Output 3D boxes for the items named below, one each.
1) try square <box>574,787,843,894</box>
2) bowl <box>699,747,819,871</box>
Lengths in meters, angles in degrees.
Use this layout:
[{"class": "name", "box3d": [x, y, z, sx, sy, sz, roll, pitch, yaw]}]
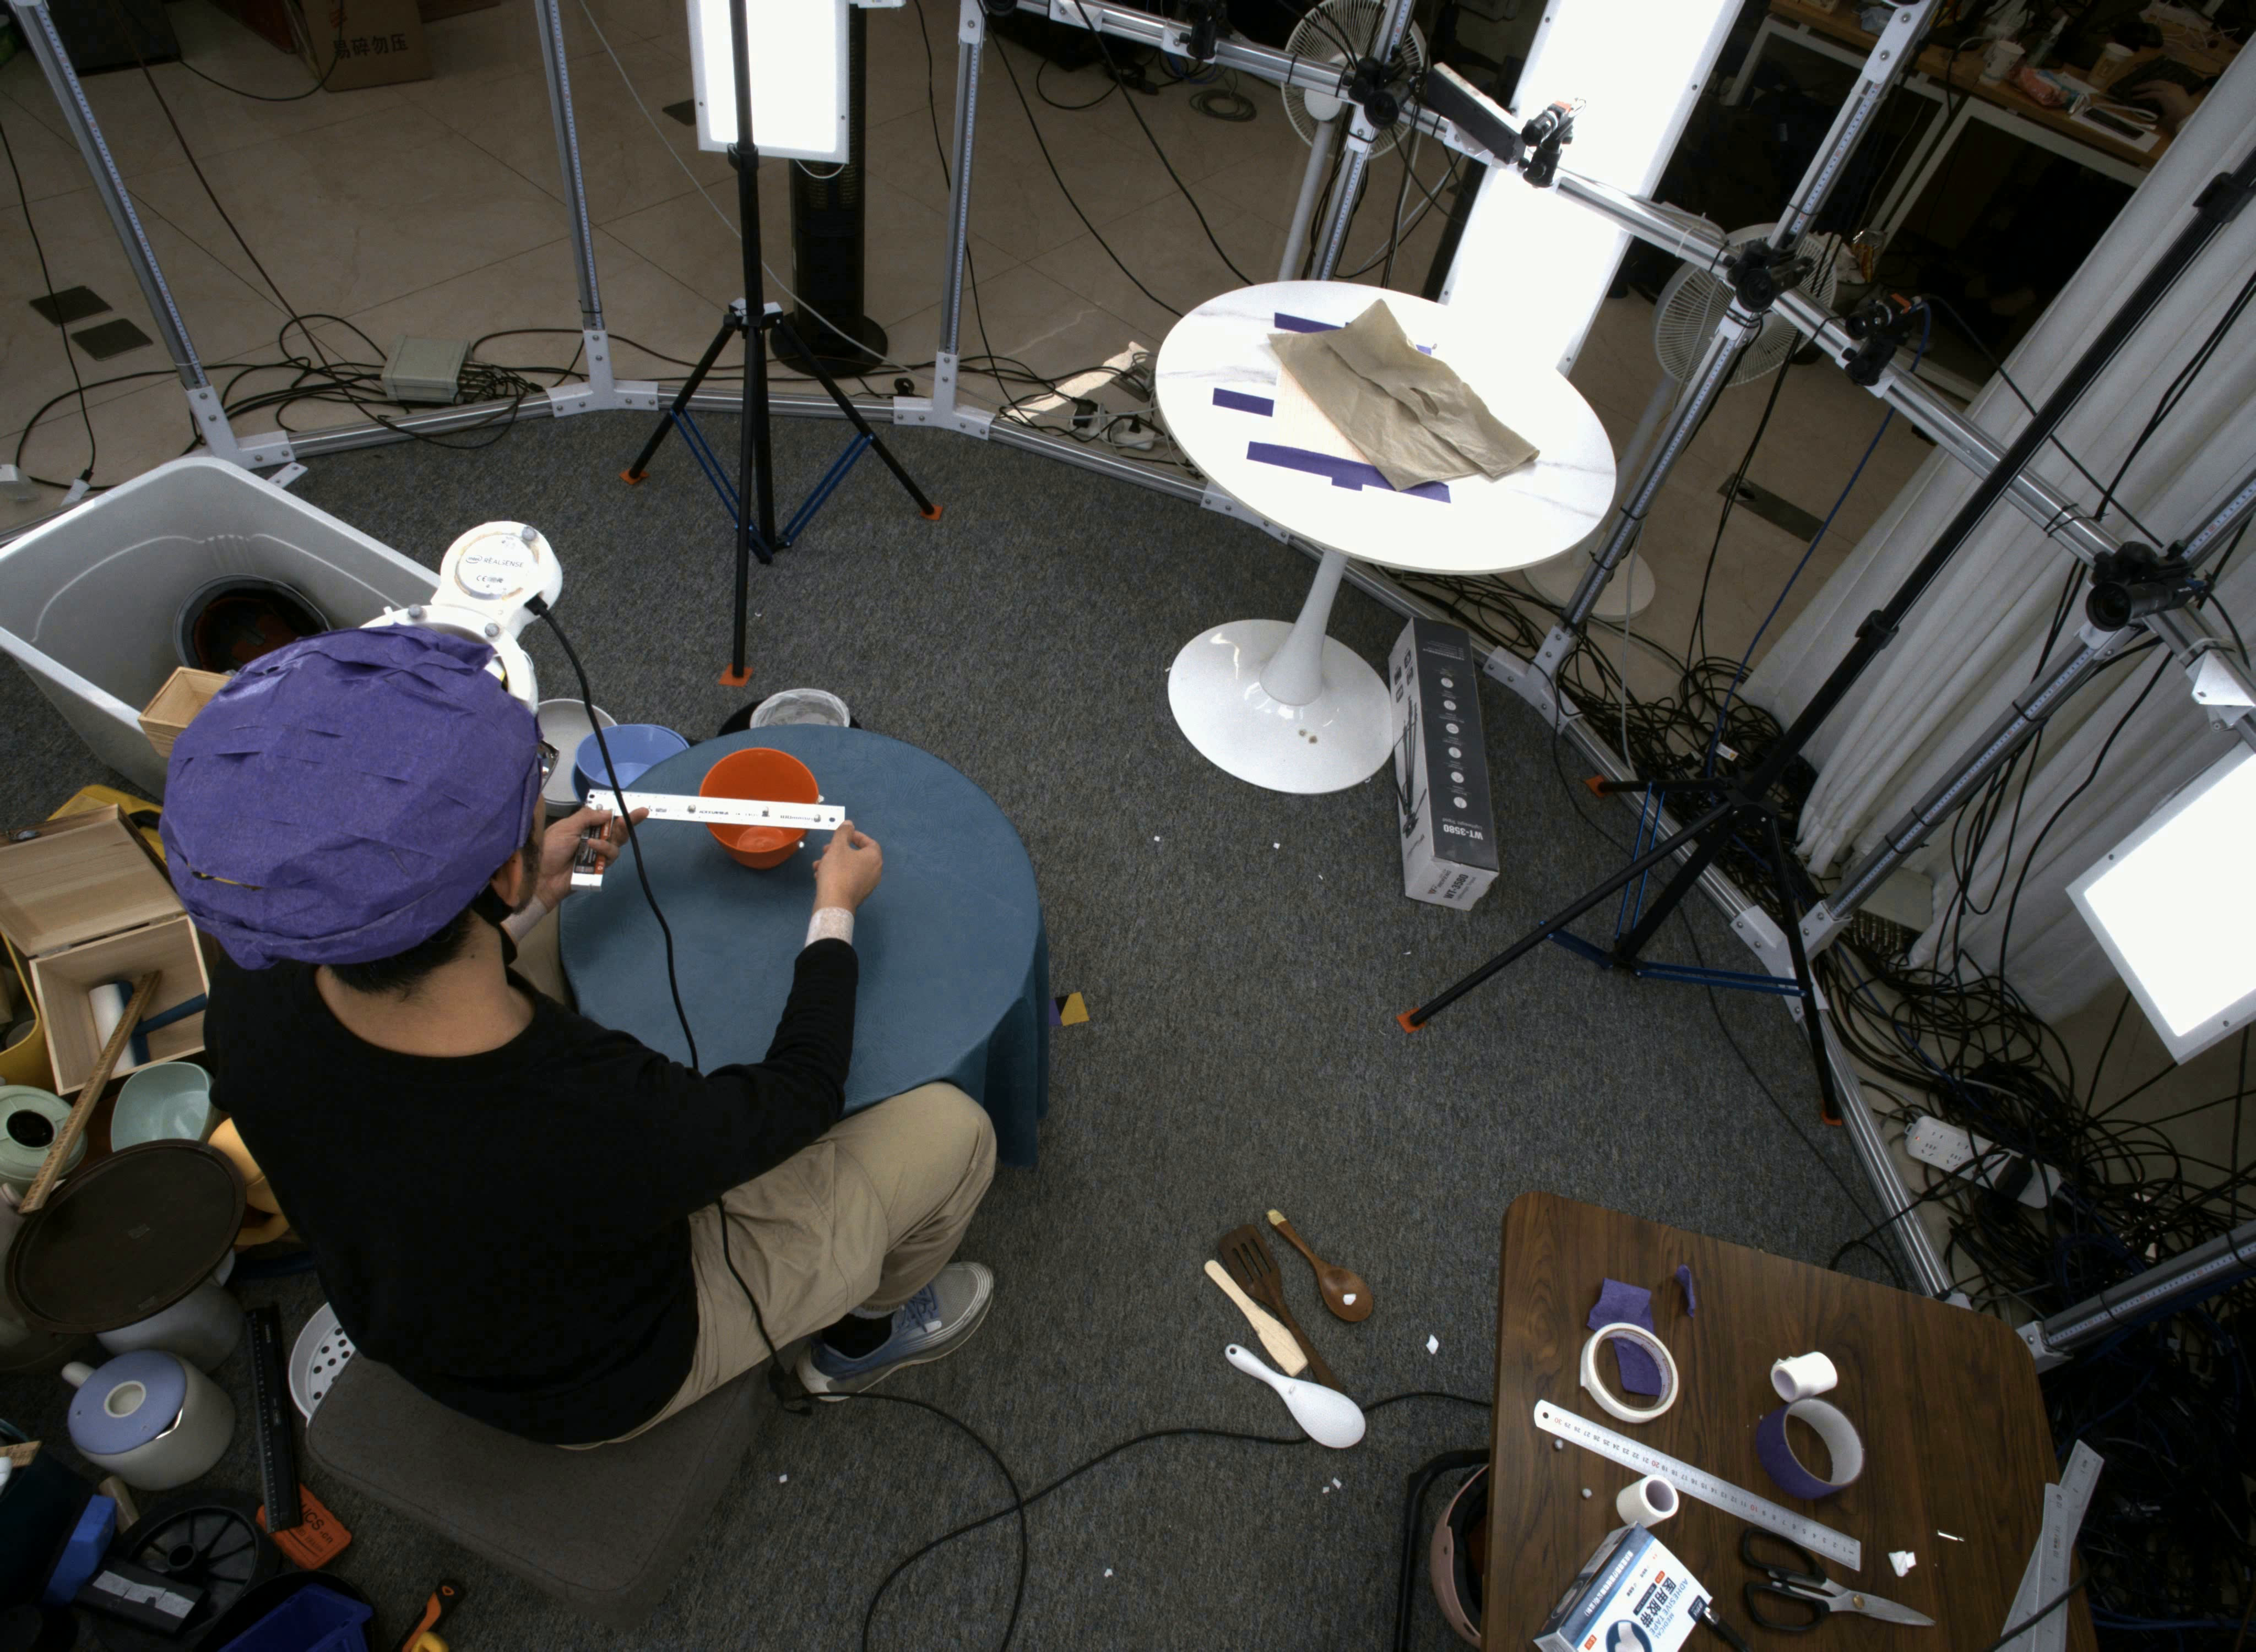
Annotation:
[{"class": "try square", "box3d": [-0.504, 0.020, 1.554, 0.314, 0.016, 0.149, 4, 54, -17]}, {"class": "bowl", "box3d": [-0.469, -0.011, 1.650, 0.148, 0.106, 0.145, 8, 52, -9]}]
